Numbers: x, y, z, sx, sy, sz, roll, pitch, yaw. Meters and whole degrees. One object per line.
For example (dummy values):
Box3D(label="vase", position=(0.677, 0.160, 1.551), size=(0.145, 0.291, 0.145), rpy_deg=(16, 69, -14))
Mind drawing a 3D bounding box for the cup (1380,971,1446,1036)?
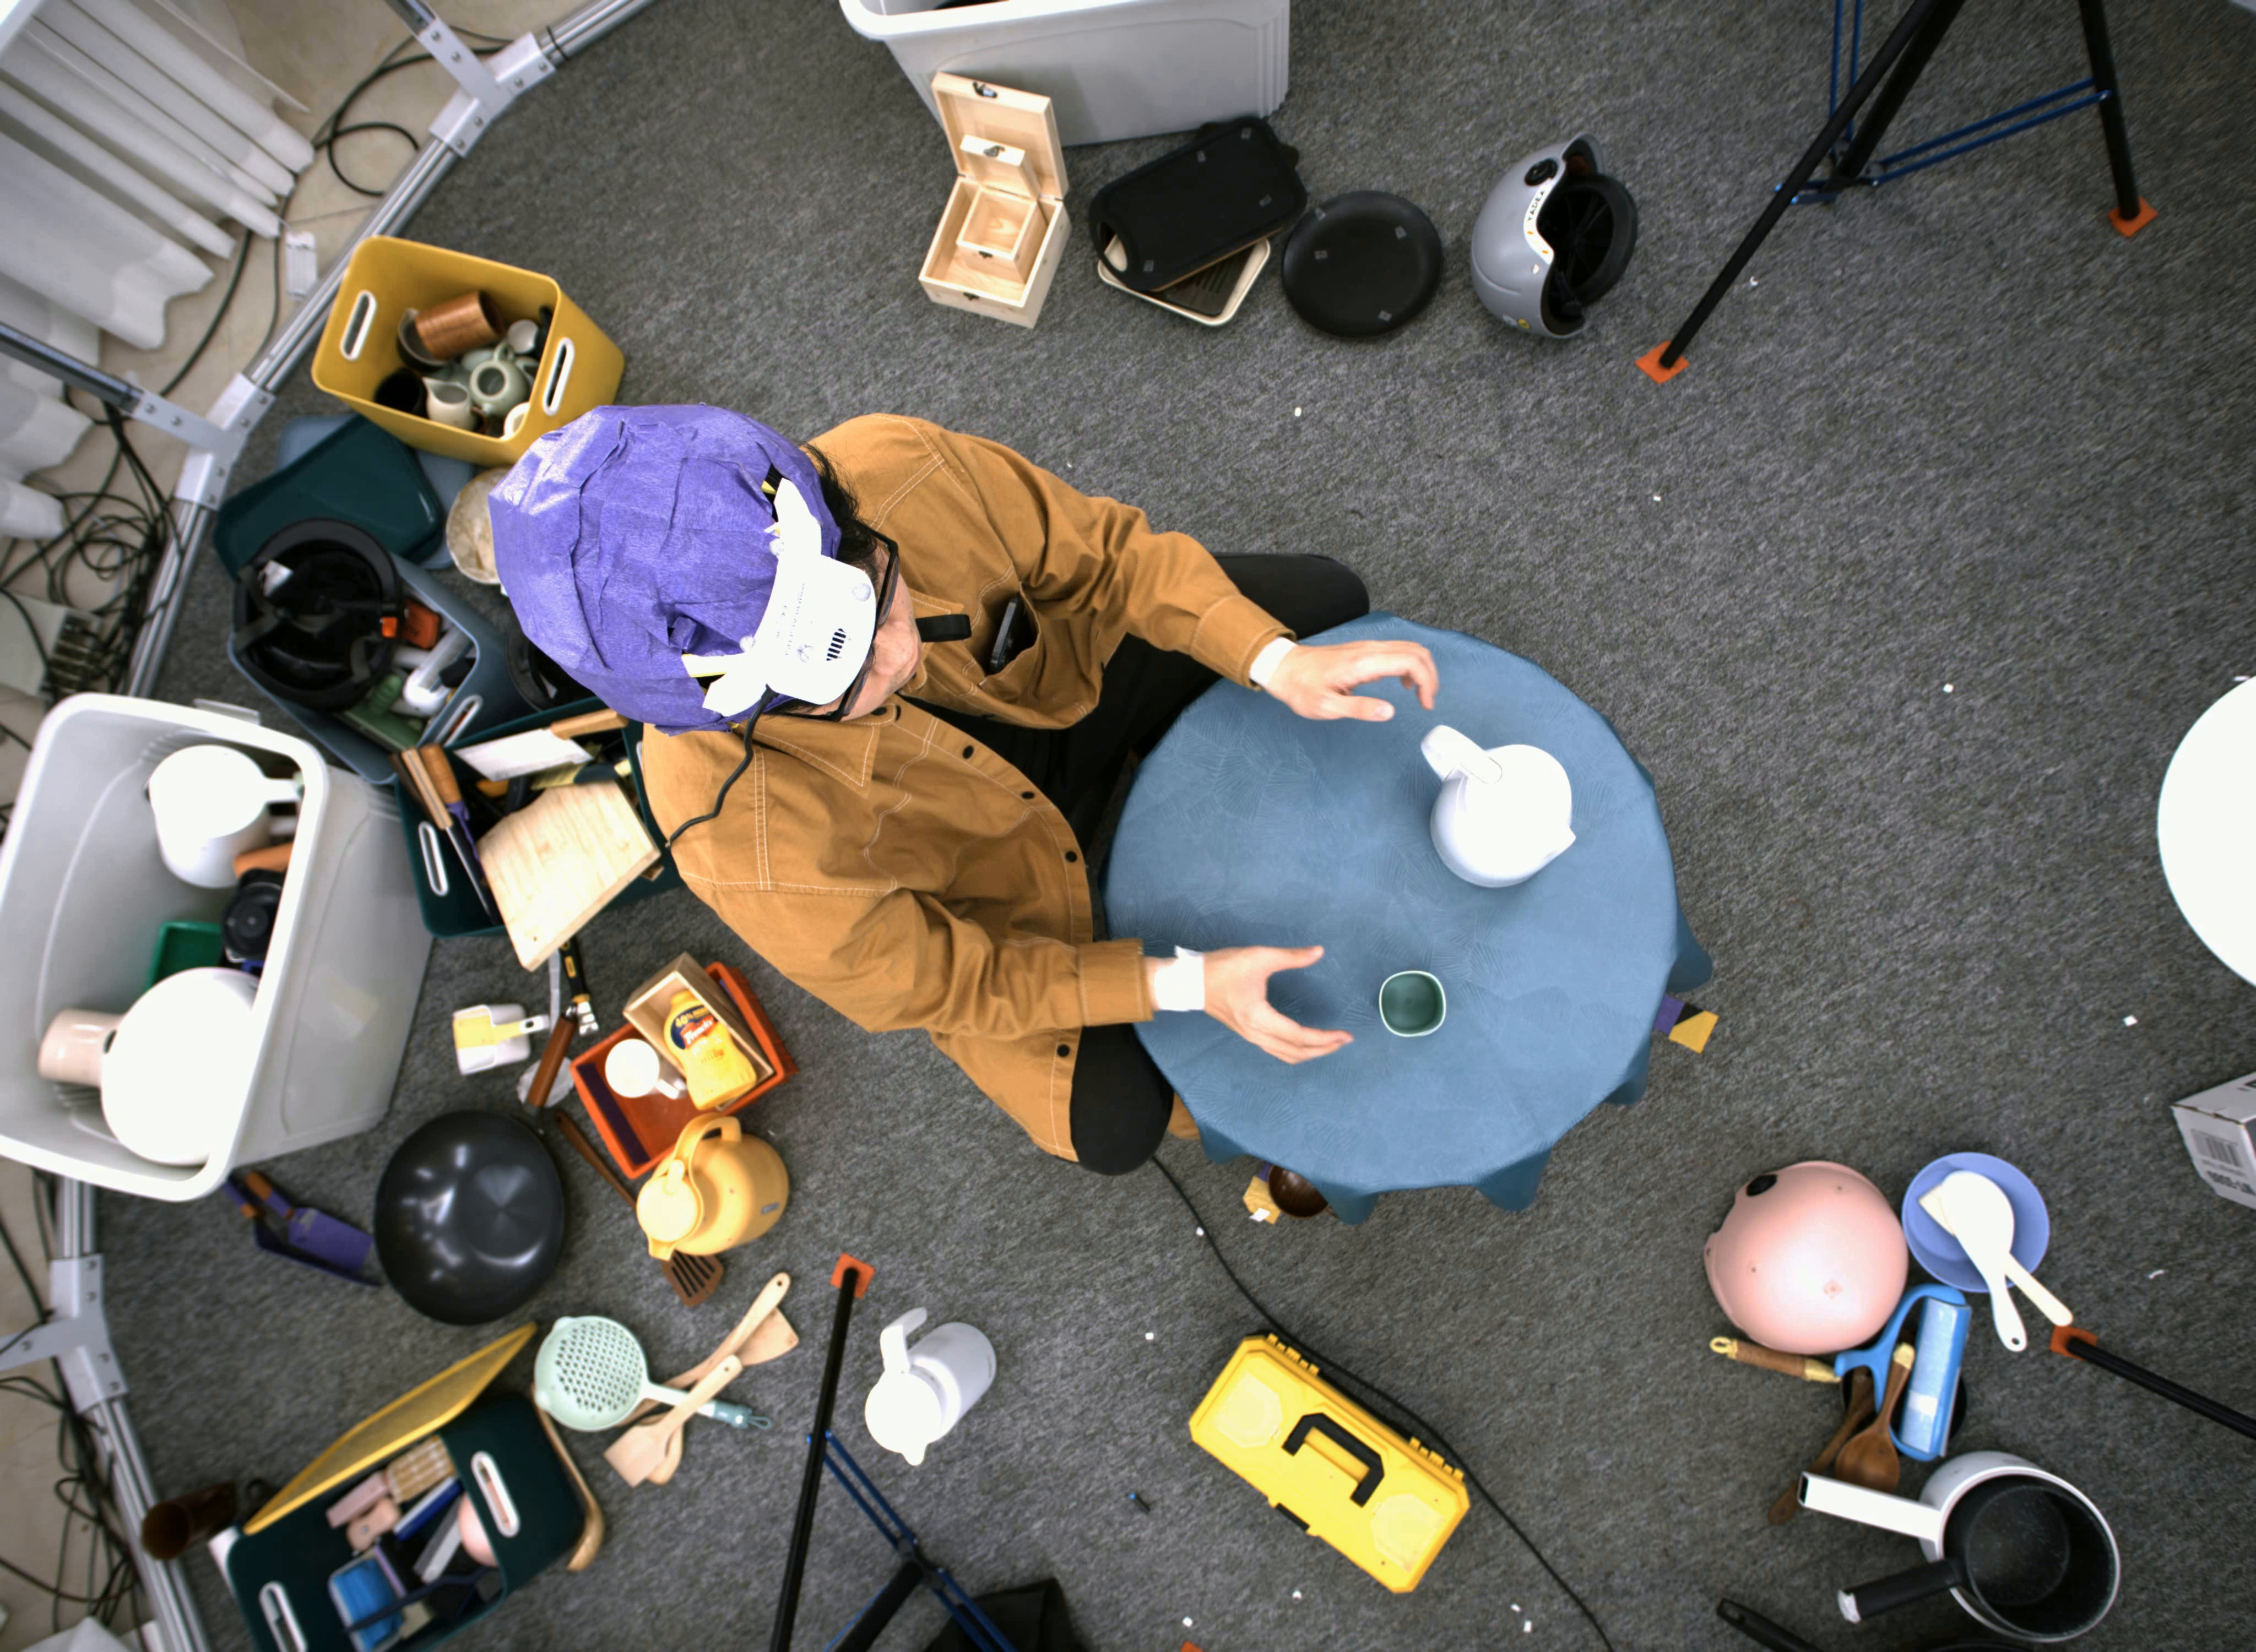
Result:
Box3D(label="cup", position=(0.284, 0.176, 1.391), size=(0.067, 0.132, 0.066), rpy_deg=(-1, 84, 10))

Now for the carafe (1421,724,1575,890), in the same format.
Box3D(label="carafe", position=(0.349, -0.028, 1.327), size=(0.133, 0.249, 0.167), rpy_deg=(-46, 78, 2))
